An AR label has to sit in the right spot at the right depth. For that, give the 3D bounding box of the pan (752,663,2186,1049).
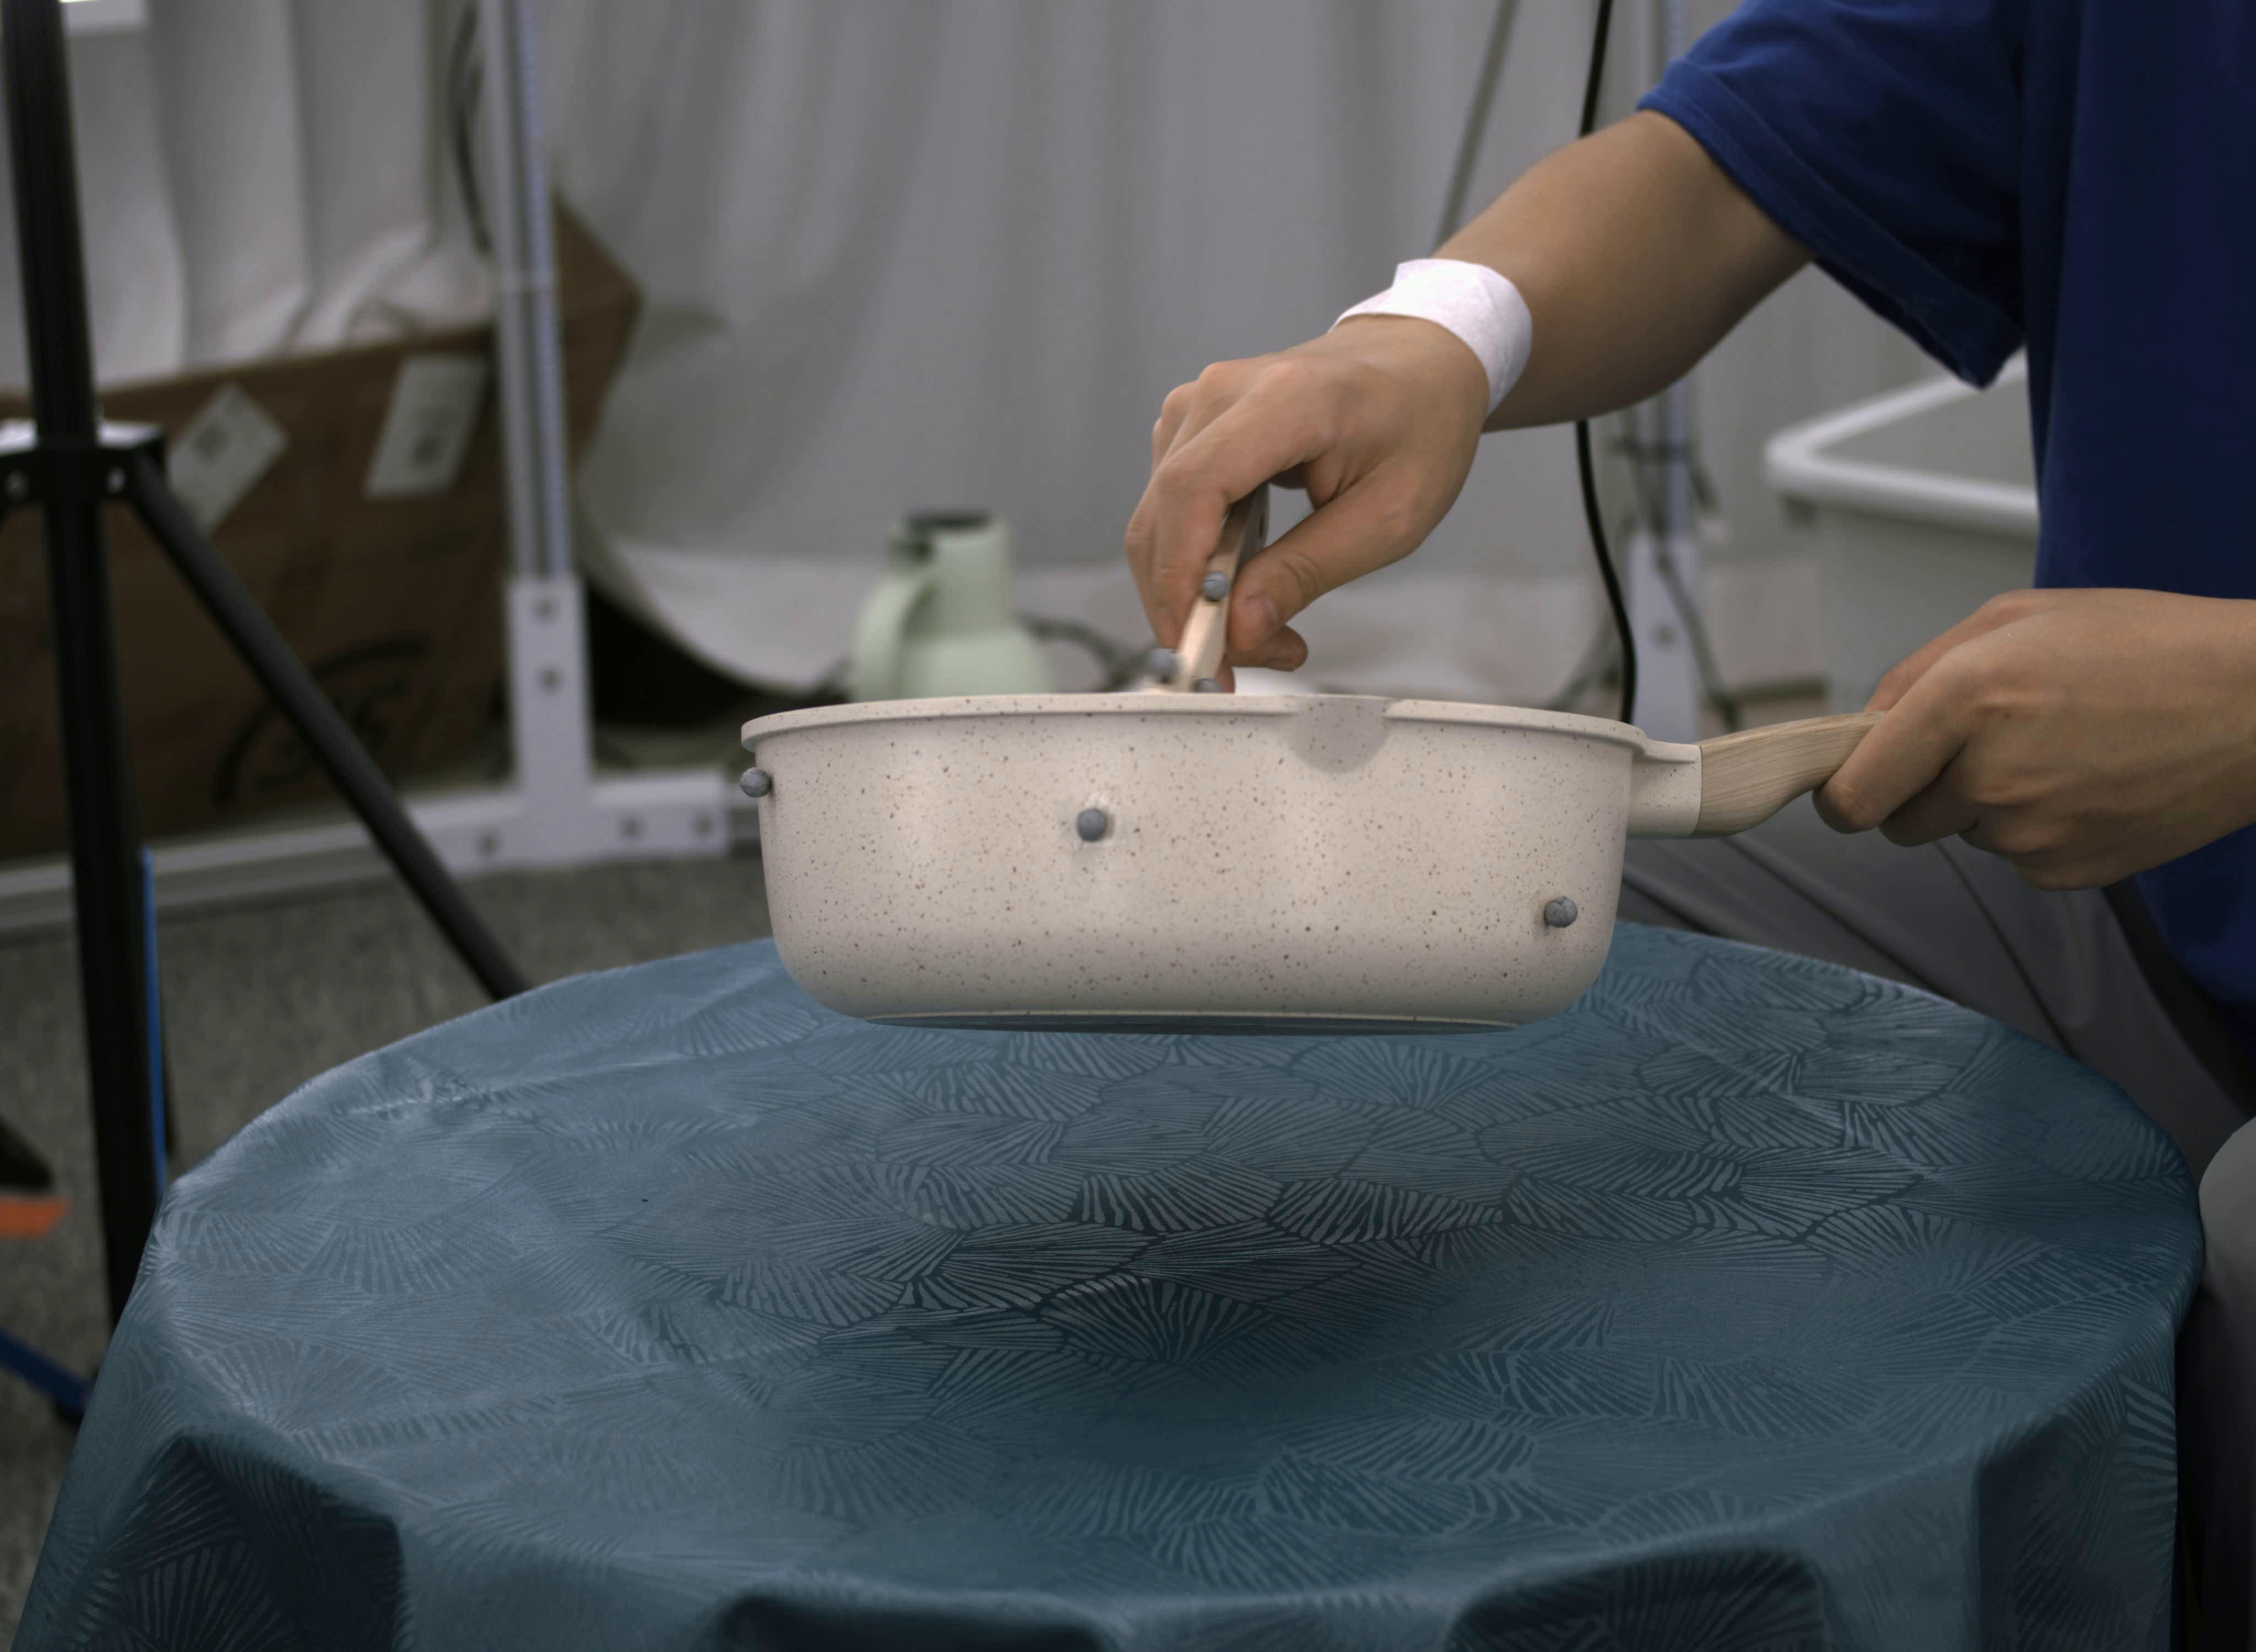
[{"bbox_3d":[0.107,0.010,1.488,0.427,0.102,0.266,3,-7,-17],"label":"pan"}]

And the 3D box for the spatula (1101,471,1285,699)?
[{"bbox_3d":[0.019,-0.050,1.517,0.011,0.072,0.292,4,21,10],"label":"spatula"}]
